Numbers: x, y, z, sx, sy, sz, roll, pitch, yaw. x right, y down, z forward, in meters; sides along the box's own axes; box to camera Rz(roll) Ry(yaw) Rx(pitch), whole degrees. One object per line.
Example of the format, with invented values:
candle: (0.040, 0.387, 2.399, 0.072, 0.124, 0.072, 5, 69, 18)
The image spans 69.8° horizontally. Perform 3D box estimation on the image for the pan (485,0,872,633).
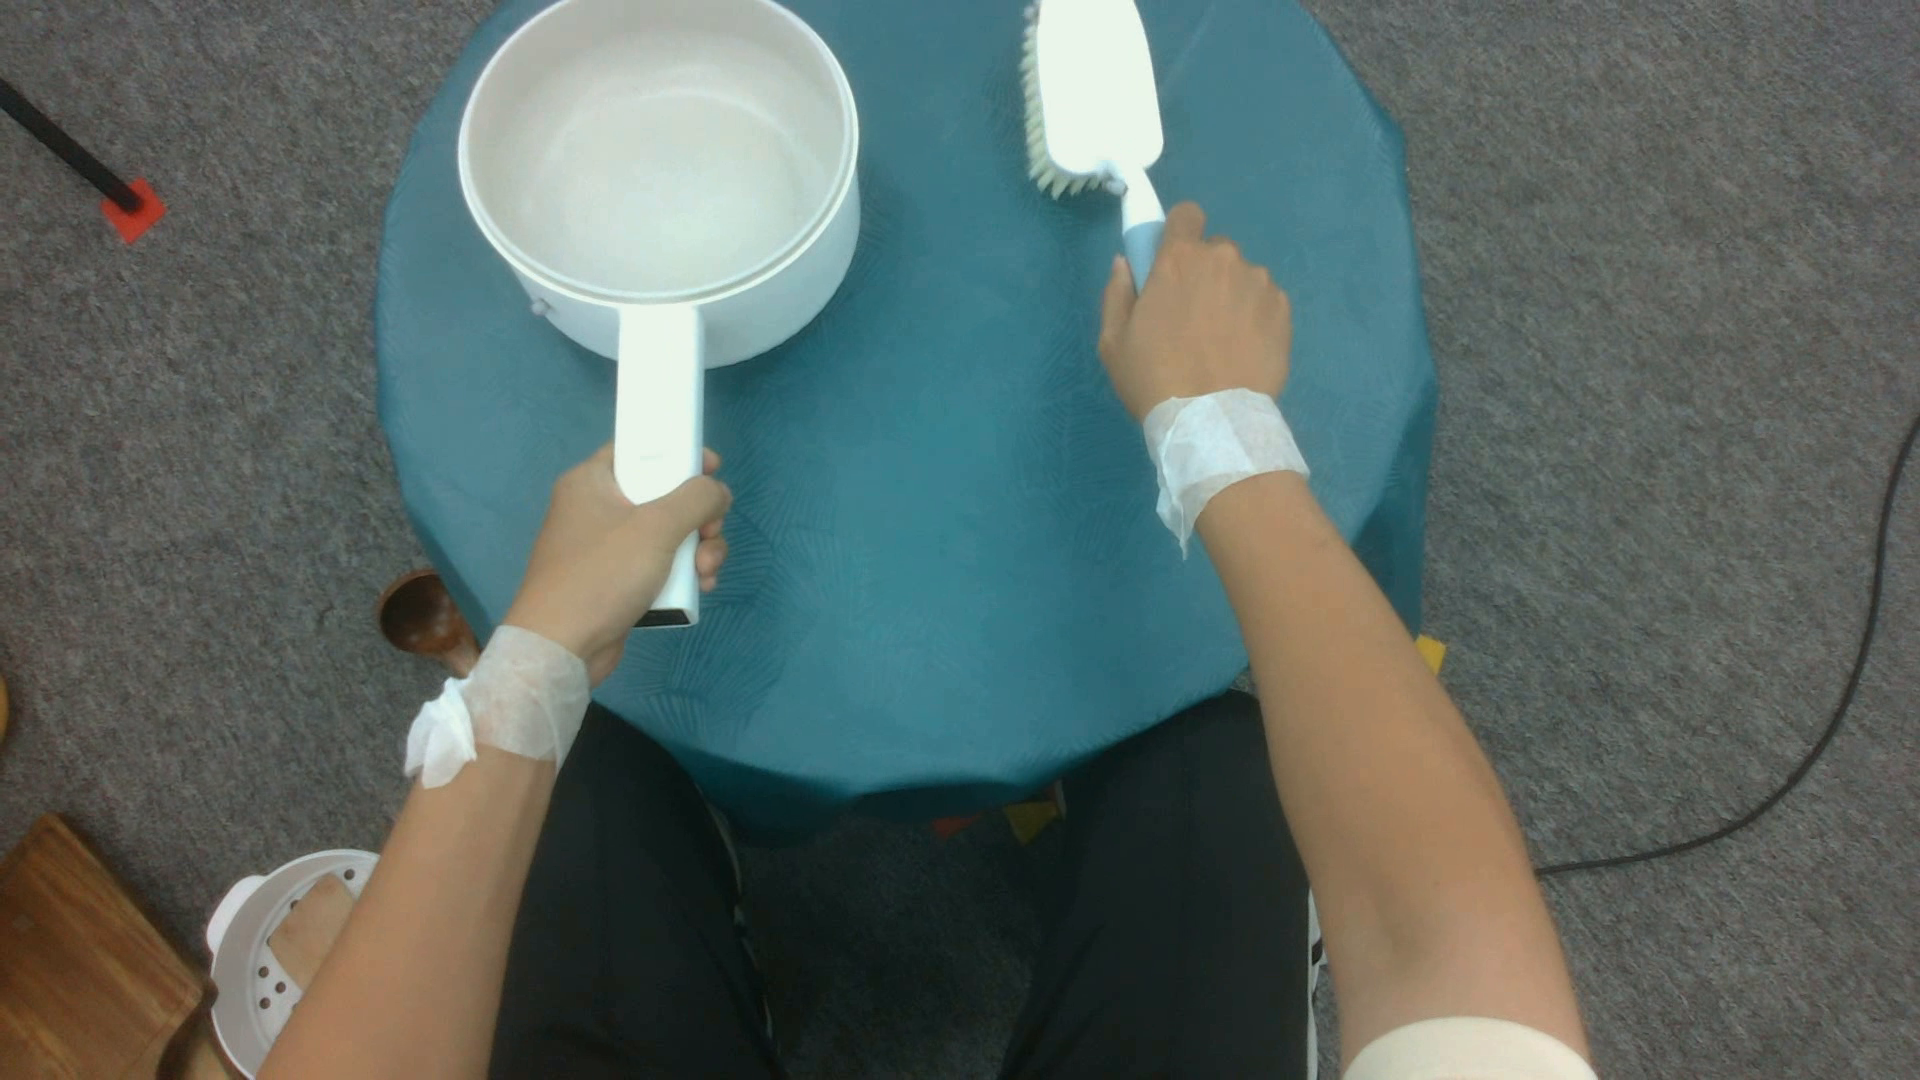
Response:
pan: (-0.143, -0.116, 0.735, 0.201, 0.102, 0.356, -3, 70, -1)

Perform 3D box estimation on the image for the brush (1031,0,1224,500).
brush: (0.090, -0.168, 0.773, 0.083, 0.084, 0.326, -16, 73, 25)
